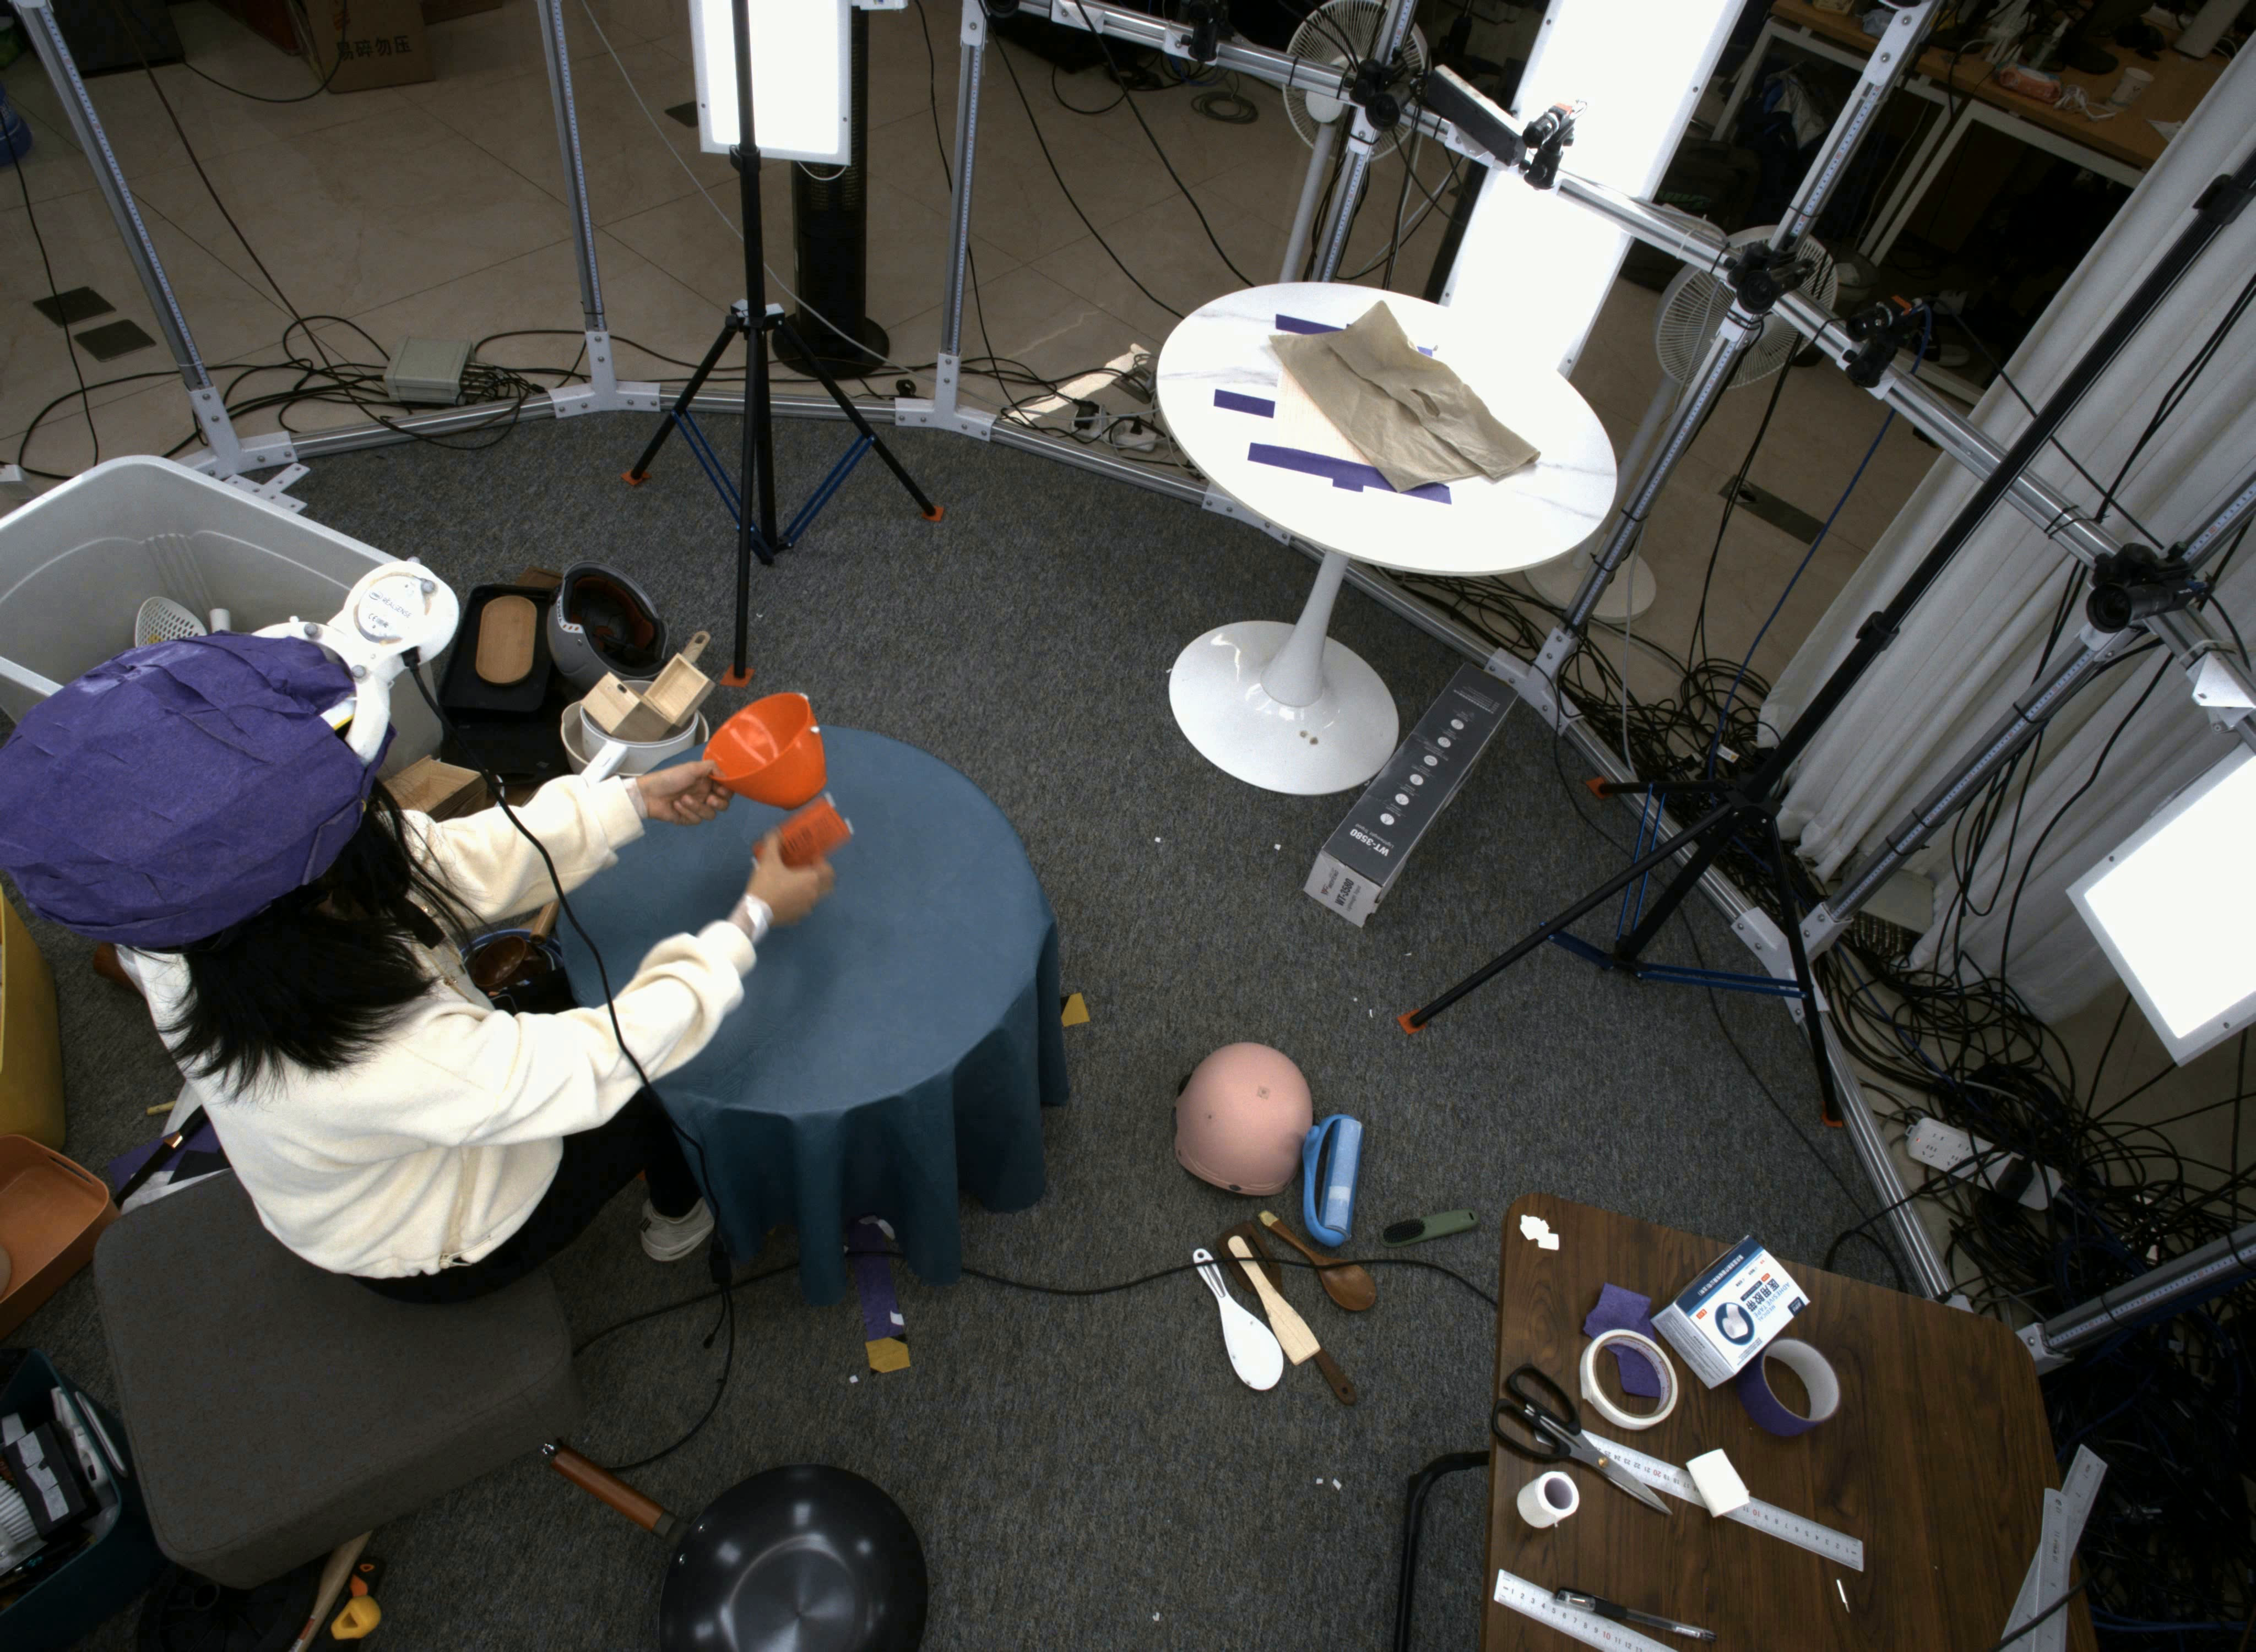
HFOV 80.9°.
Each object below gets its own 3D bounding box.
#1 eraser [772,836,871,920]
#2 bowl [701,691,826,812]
[{"bbox_3d":[-0.363,0.060,1.539,0.108,0.061,0.022,-32,36,-14],"label":"eraser"},{"bbox_3d":[-0.423,-0.080,1.550,0.146,0.108,0.145,-22,32,17],"label":"bowl"}]
